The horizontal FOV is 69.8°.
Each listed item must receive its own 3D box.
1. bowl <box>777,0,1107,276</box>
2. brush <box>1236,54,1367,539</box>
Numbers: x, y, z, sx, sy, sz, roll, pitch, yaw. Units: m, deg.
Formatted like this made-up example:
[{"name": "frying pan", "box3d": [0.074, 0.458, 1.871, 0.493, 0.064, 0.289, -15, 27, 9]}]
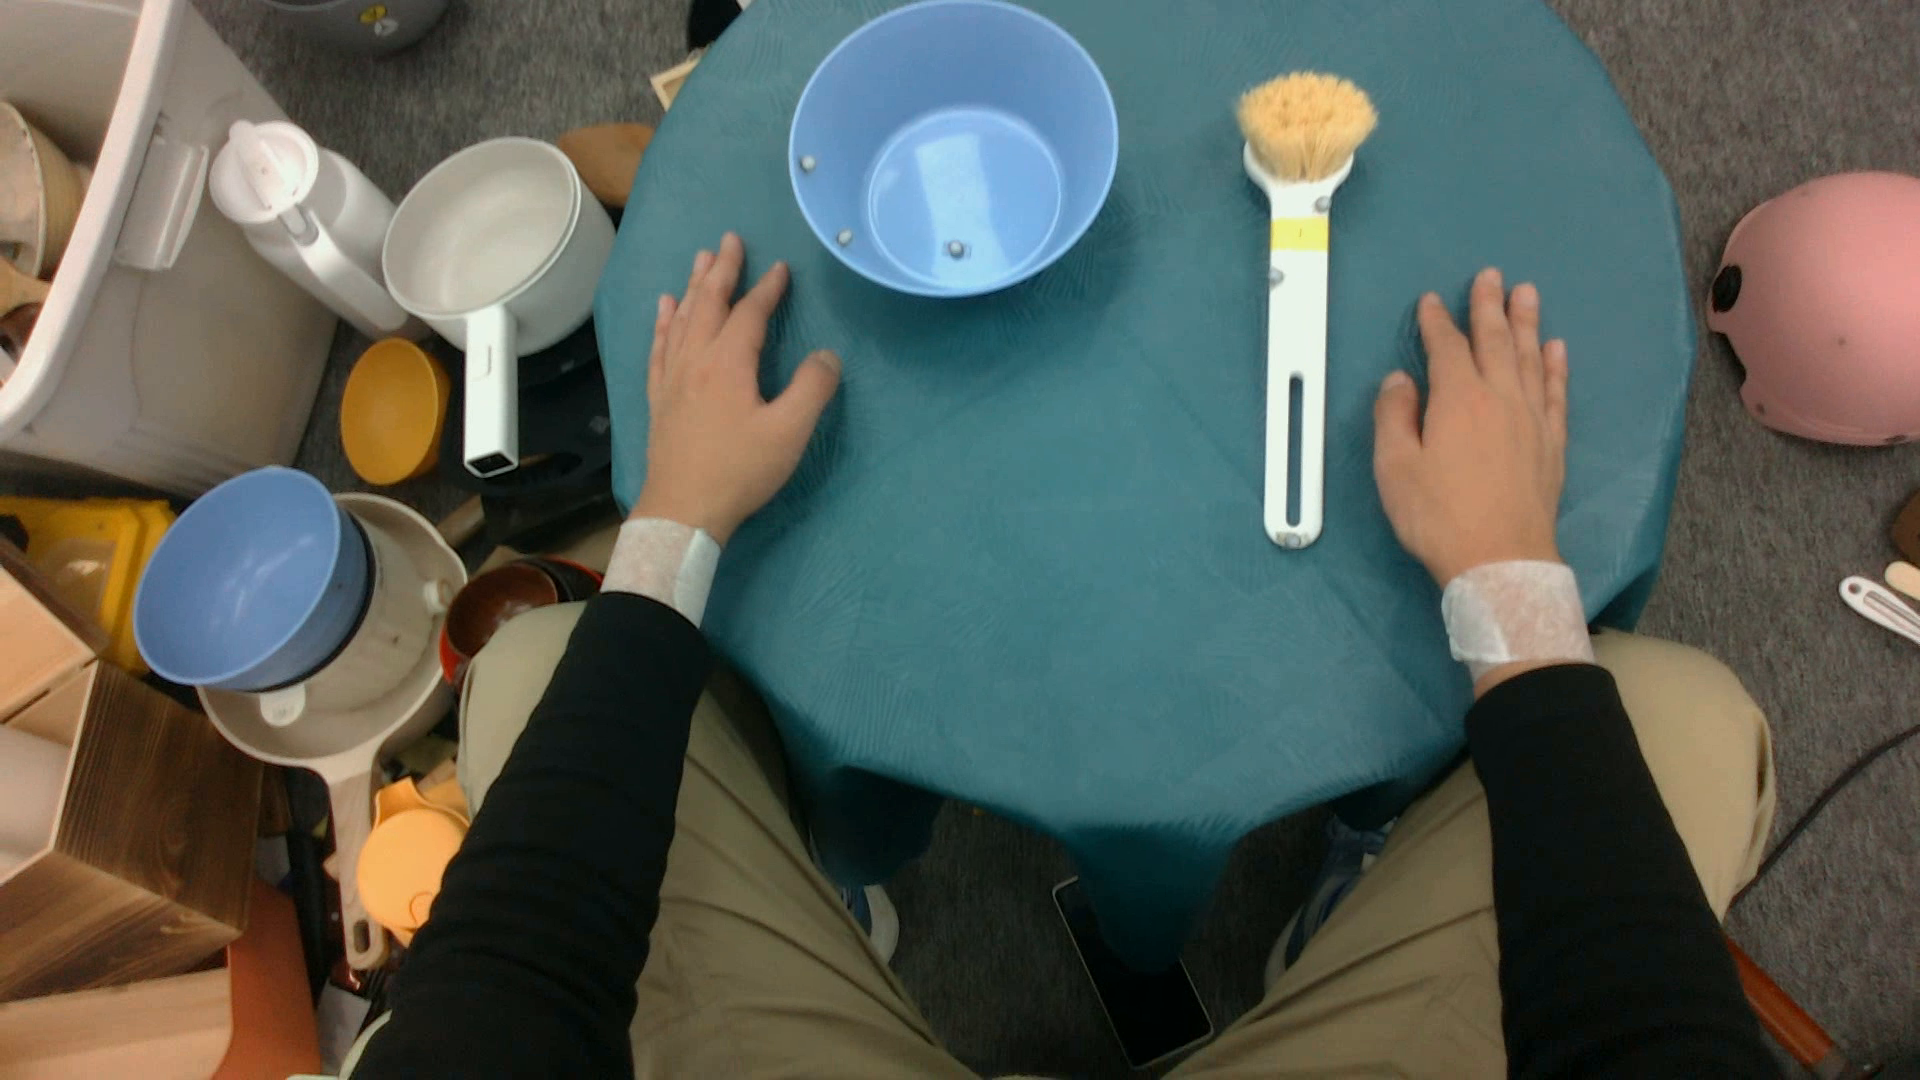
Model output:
[{"name": "bowl", "box3d": [-0.007, -0.215, 0.756, 0.176, 0.070, 0.176, -1, 77, 5]}, {"name": "brush", "box3d": [0.177, -0.135, 0.730, 0.068, 0.056, 0.267, 2, 77, 10]}]
